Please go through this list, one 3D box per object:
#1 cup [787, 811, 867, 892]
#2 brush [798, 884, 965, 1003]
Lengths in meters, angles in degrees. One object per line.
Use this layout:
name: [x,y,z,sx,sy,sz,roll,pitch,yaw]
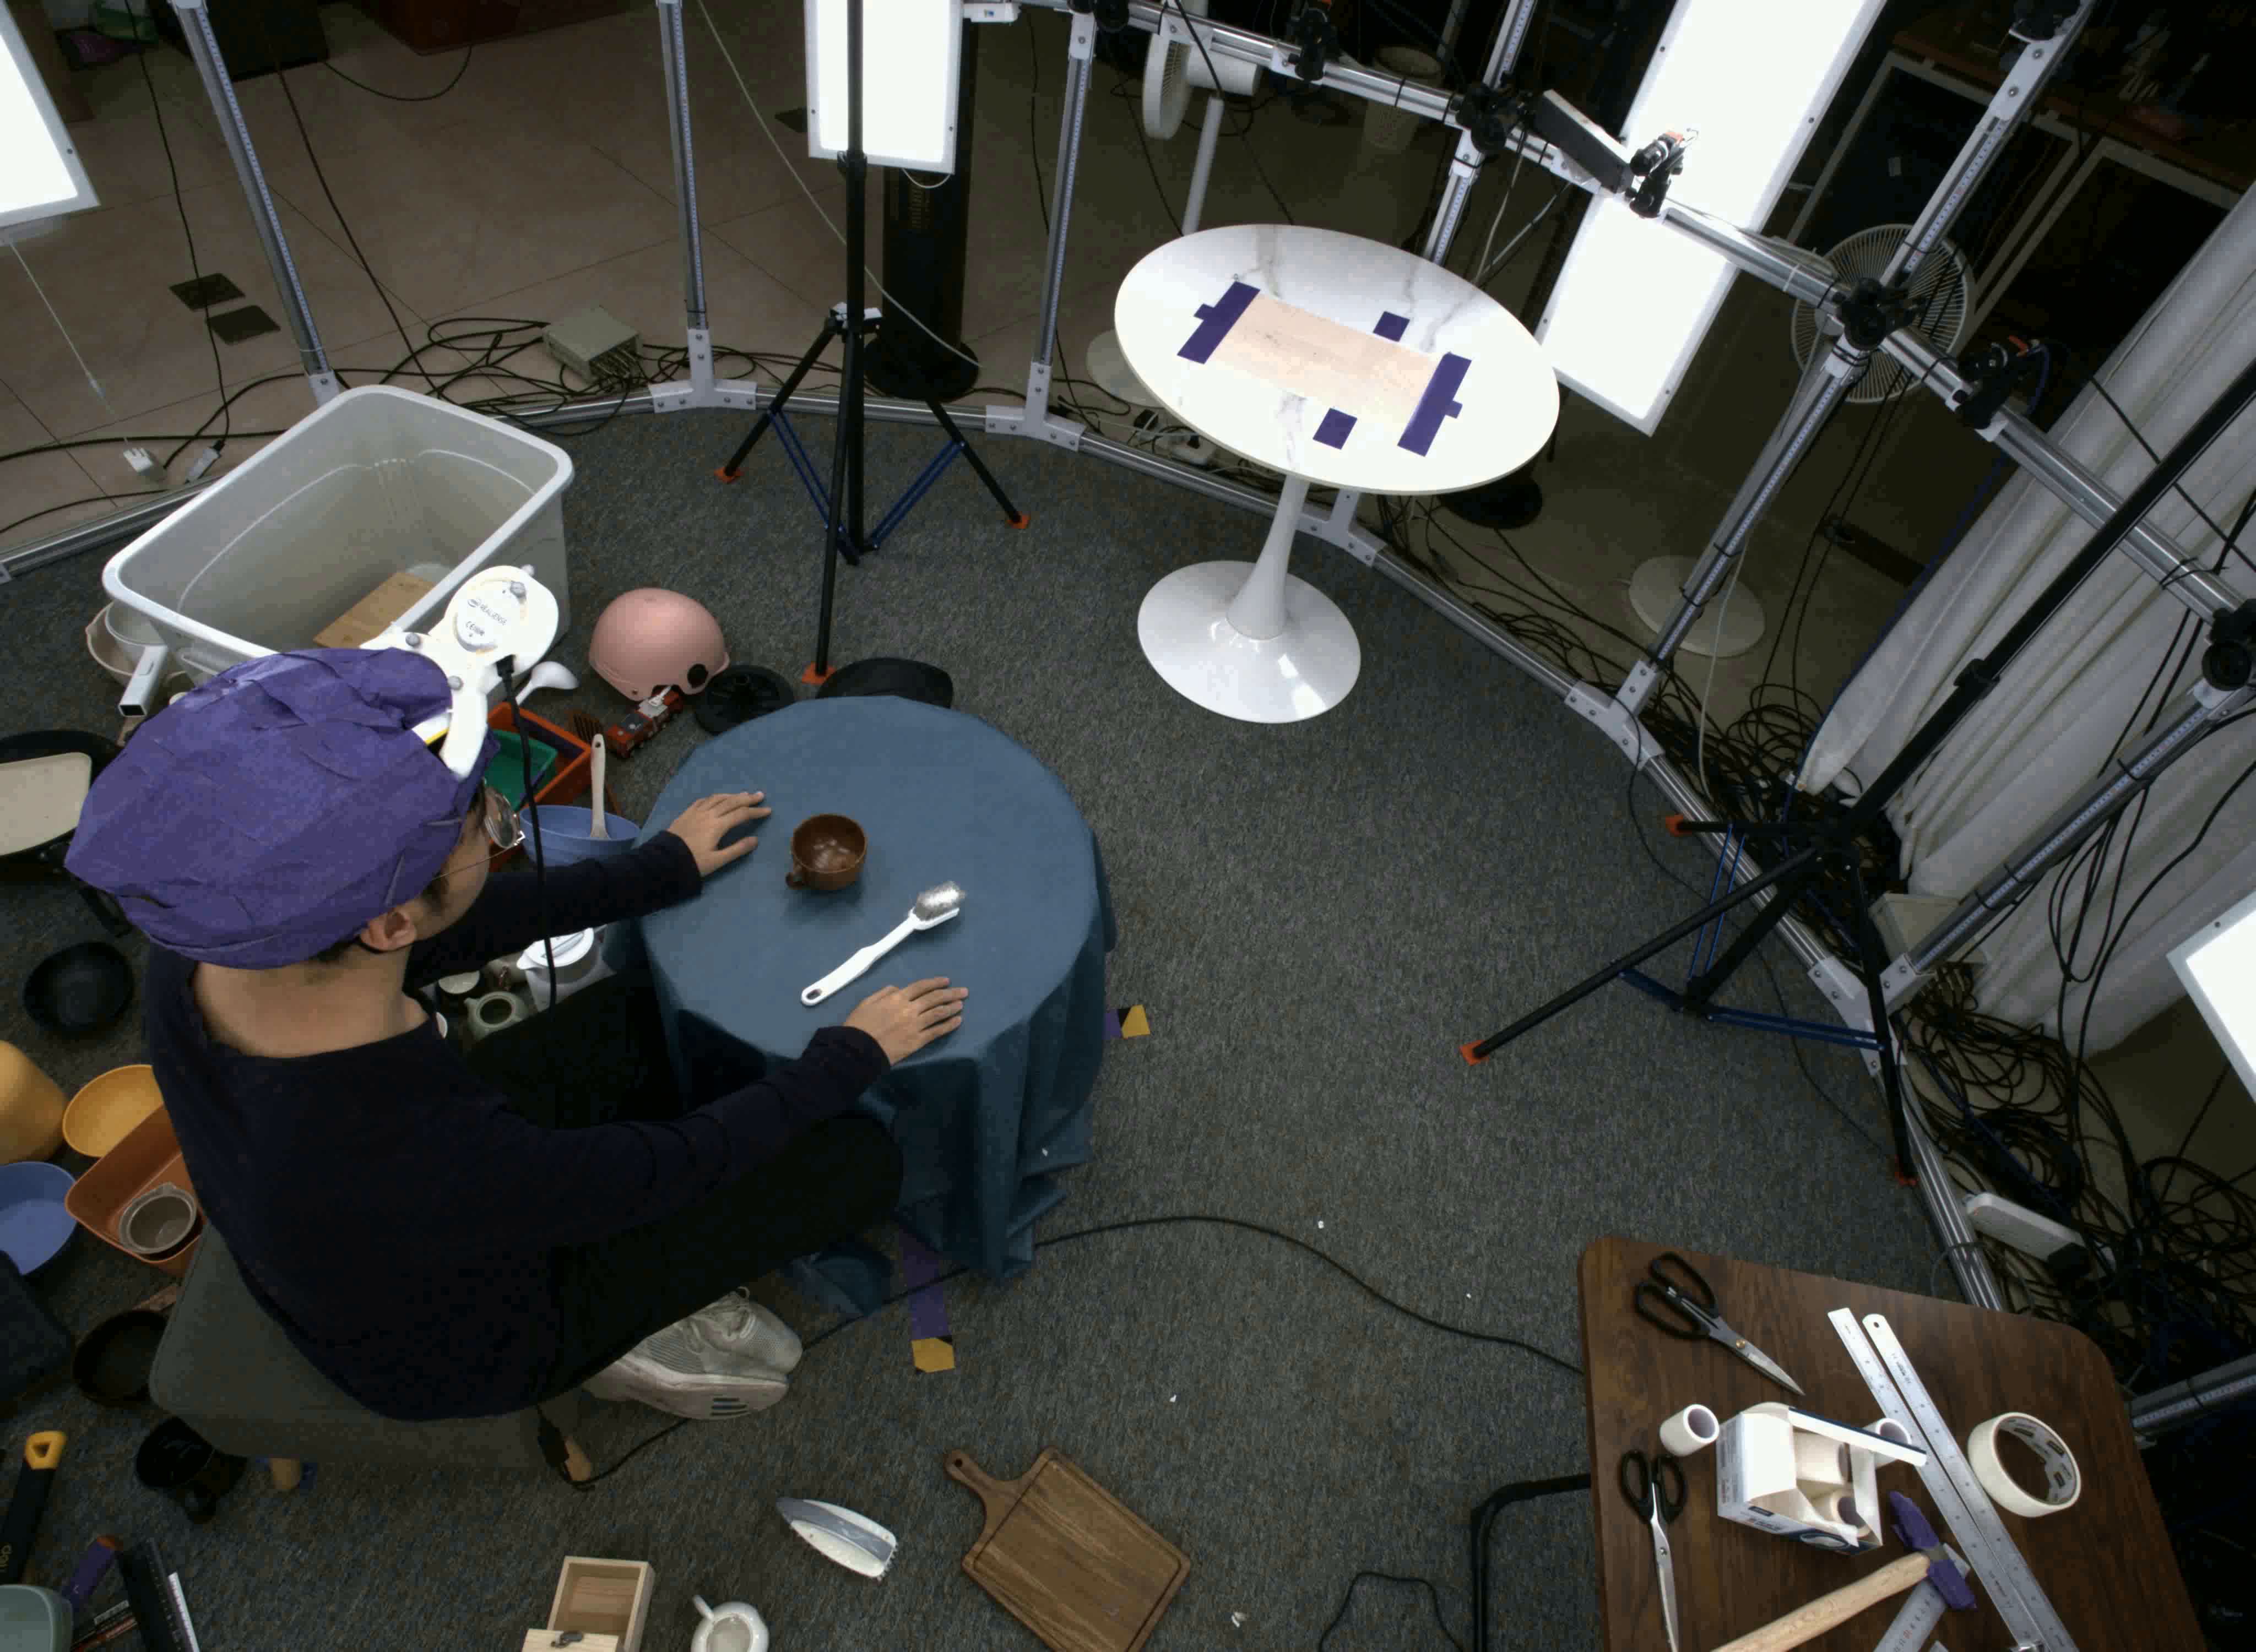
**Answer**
cup: [-0.392,0.045,1.655,0.094,0.069,0.119,36,52,13]
brush: [-0.306,0.141,1.620,0.244,0.051,0.034,-31,68,-31]
